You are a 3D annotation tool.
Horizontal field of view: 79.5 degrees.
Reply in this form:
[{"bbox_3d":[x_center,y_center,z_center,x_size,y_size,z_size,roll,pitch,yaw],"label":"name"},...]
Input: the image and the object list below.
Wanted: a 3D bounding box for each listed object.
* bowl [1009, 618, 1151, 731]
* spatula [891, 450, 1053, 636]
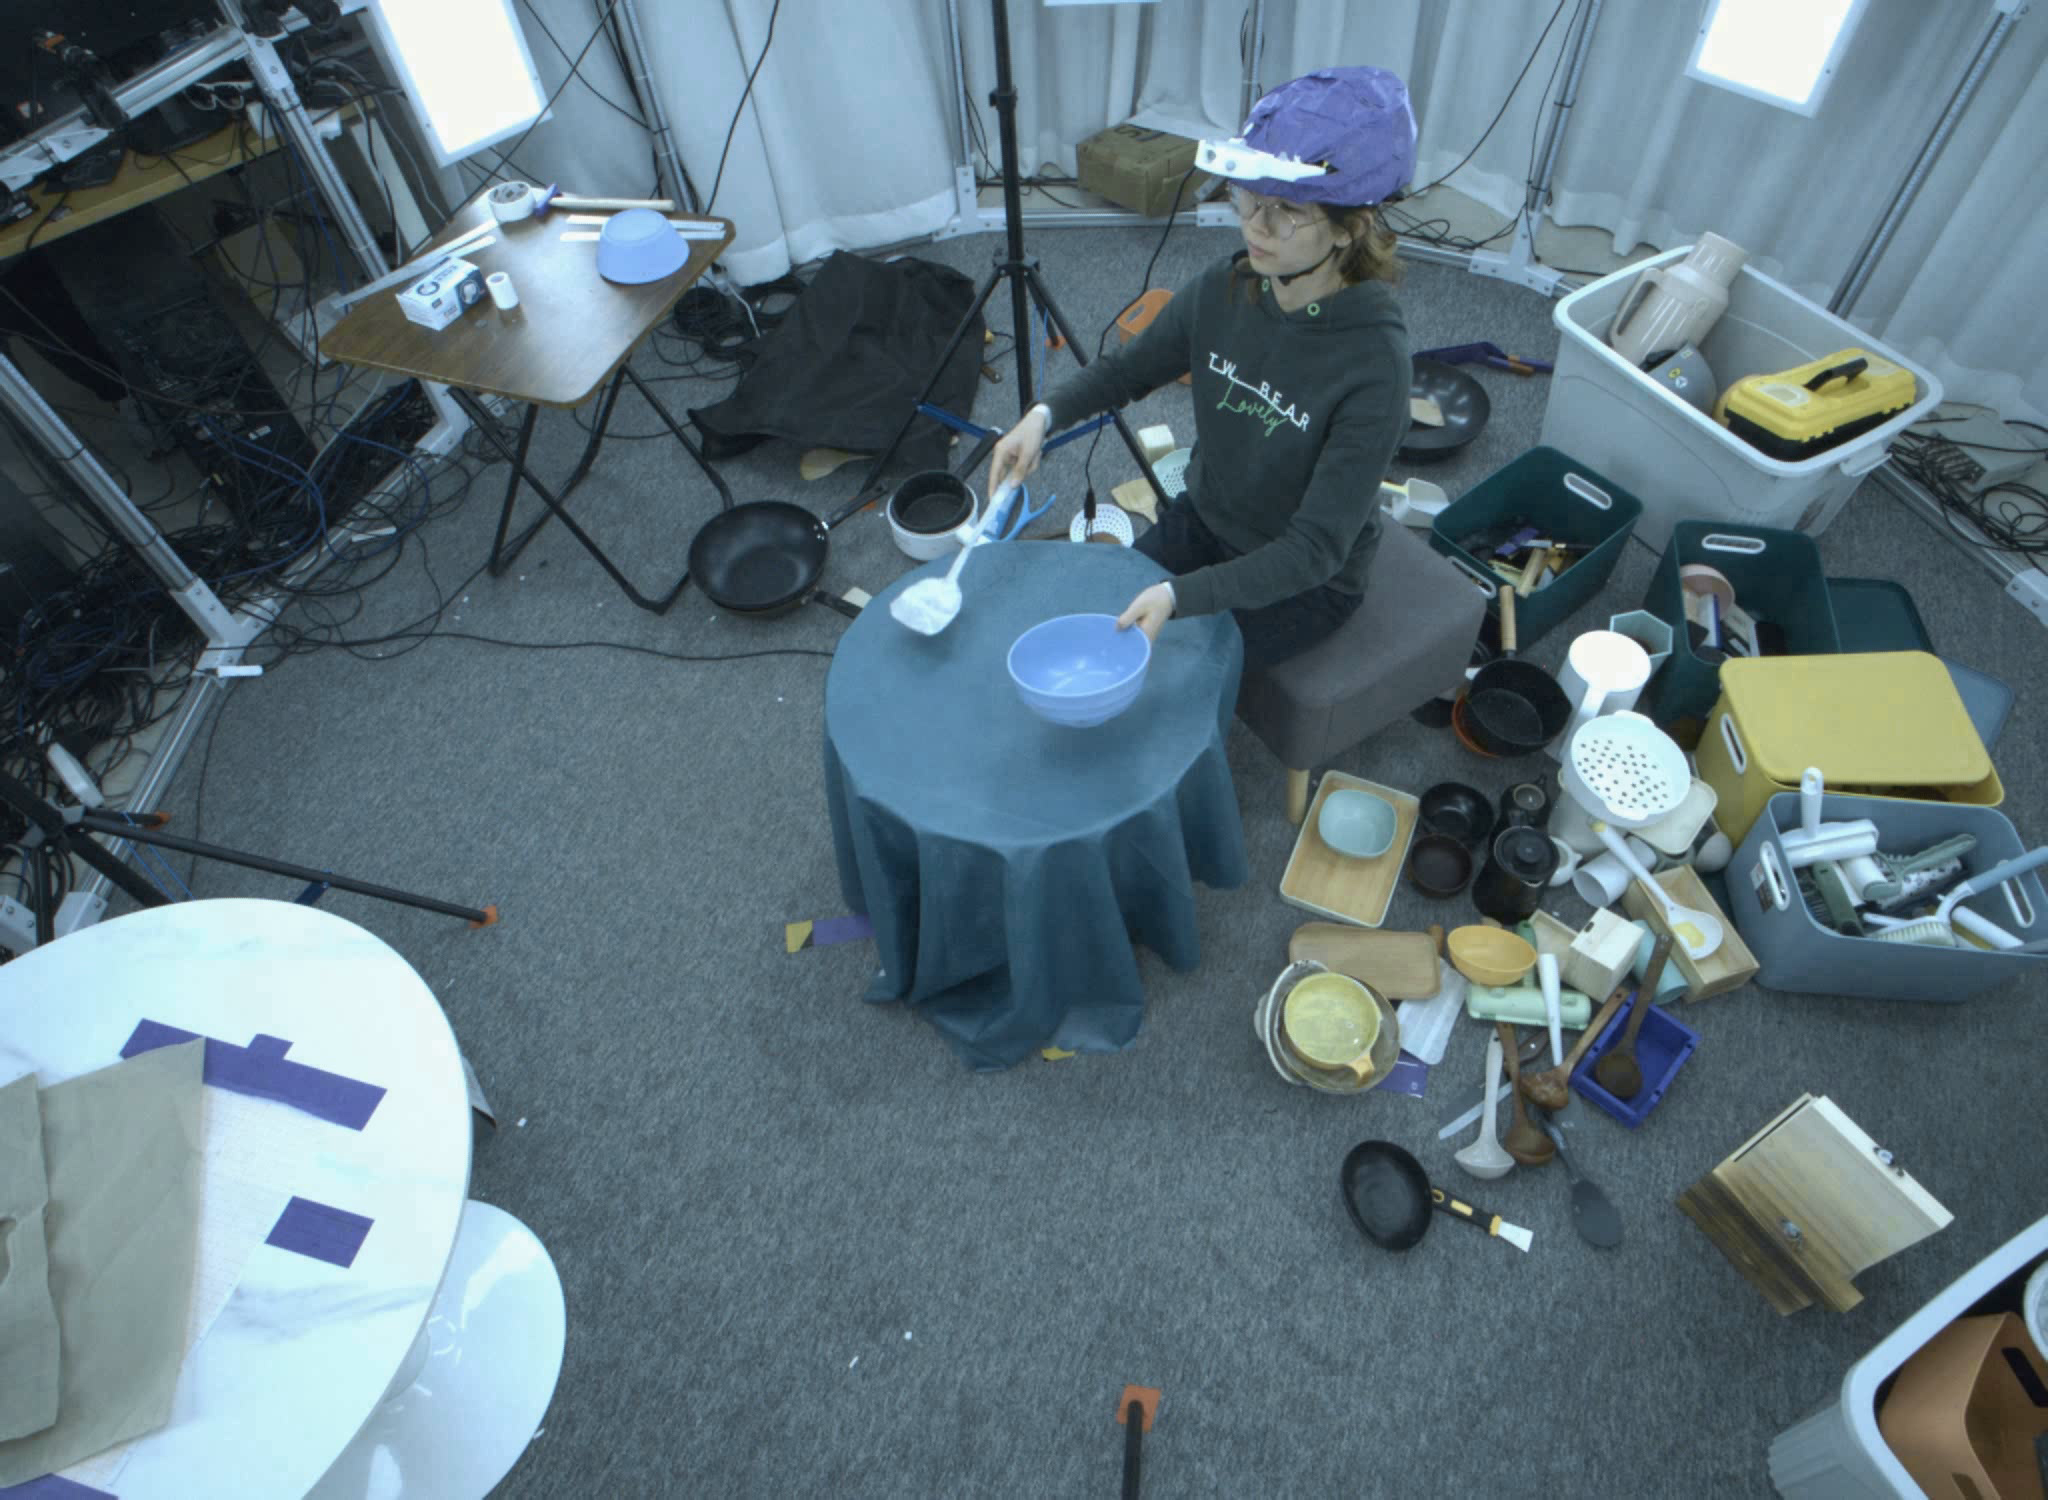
[{"bbox_3d":[0.082,-0.091,1.711,0.196,0.097,0.194,-6,39,6],"label":"bowl"},{"bbox_3d":[-0.071,-0.332,1.891,0.097,0.045,0.365,32,86,21],"label":"spatula"}]
